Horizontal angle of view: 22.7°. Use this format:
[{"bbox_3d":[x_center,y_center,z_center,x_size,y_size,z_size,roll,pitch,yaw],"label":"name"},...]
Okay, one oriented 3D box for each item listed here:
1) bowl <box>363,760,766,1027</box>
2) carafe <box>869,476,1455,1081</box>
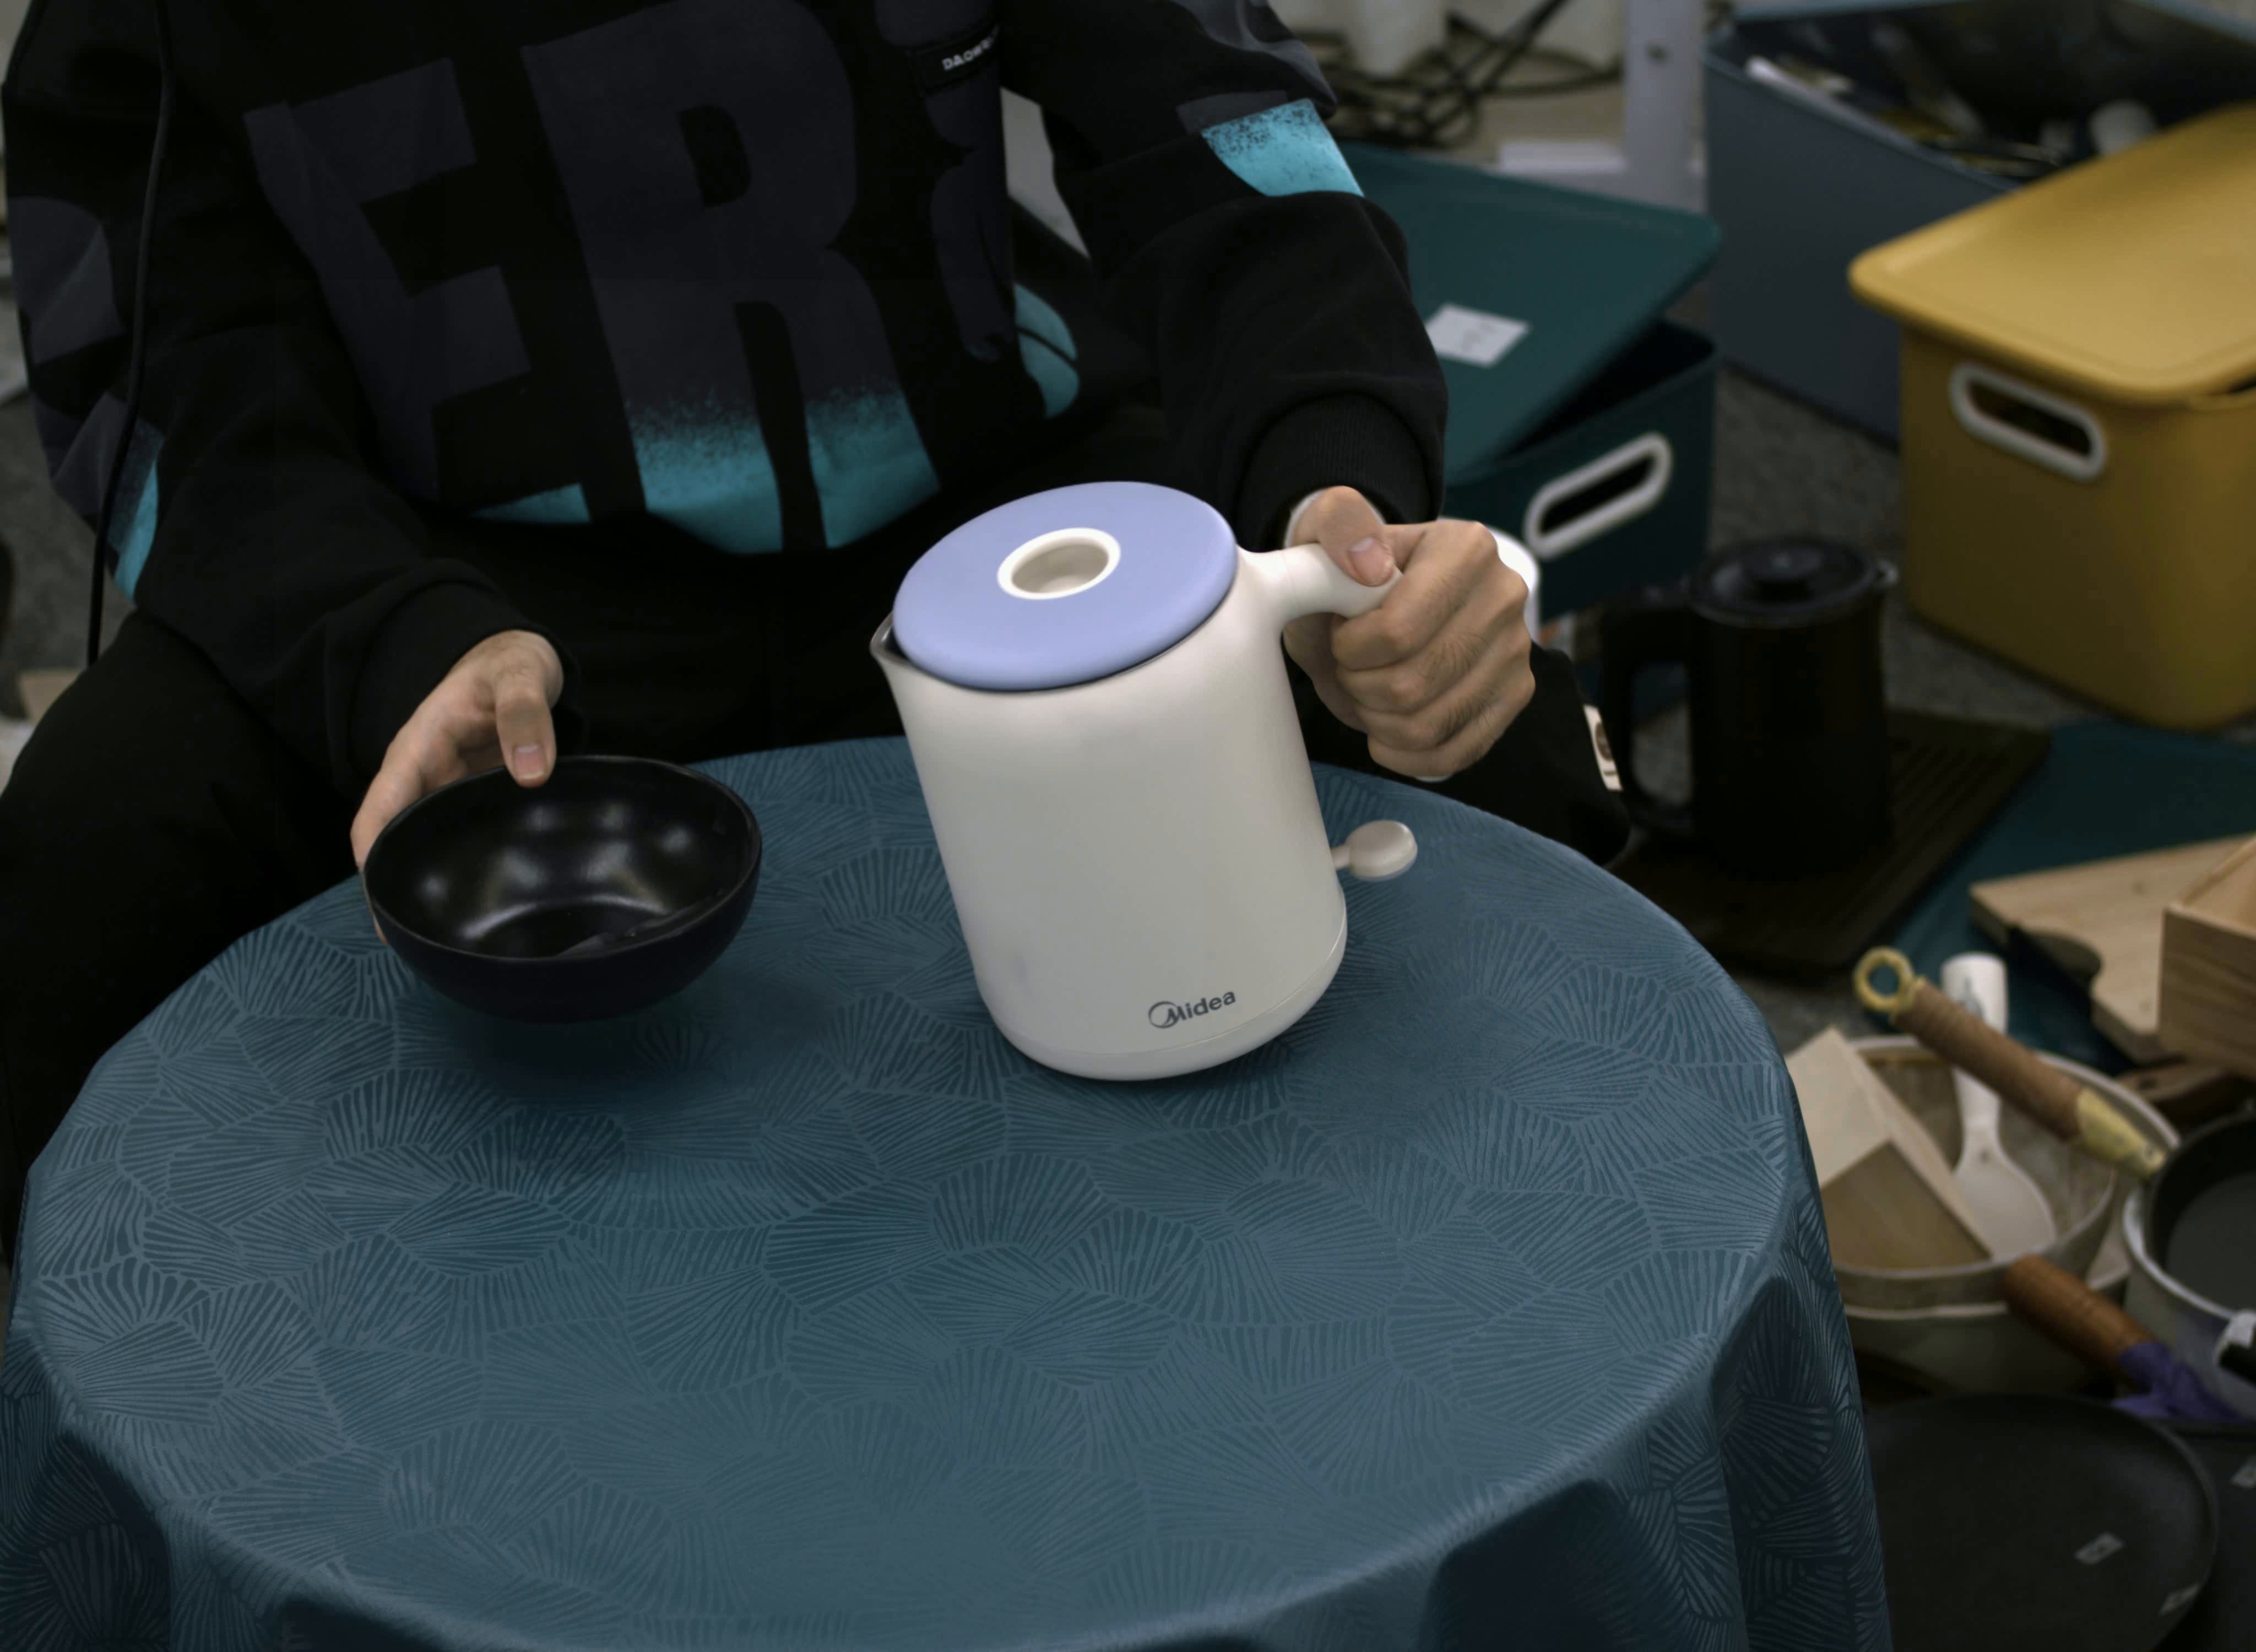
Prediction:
[{"bbox_3d":[-0.194,0.031,1.951,0.139,0.049,0.142,-2,28,1],"label":"bowl"},{"bbox_3d":[0.018,-0.023,1.924,0.191,0.180,0.134,-16,34,-7],"label":"carafe"}]
